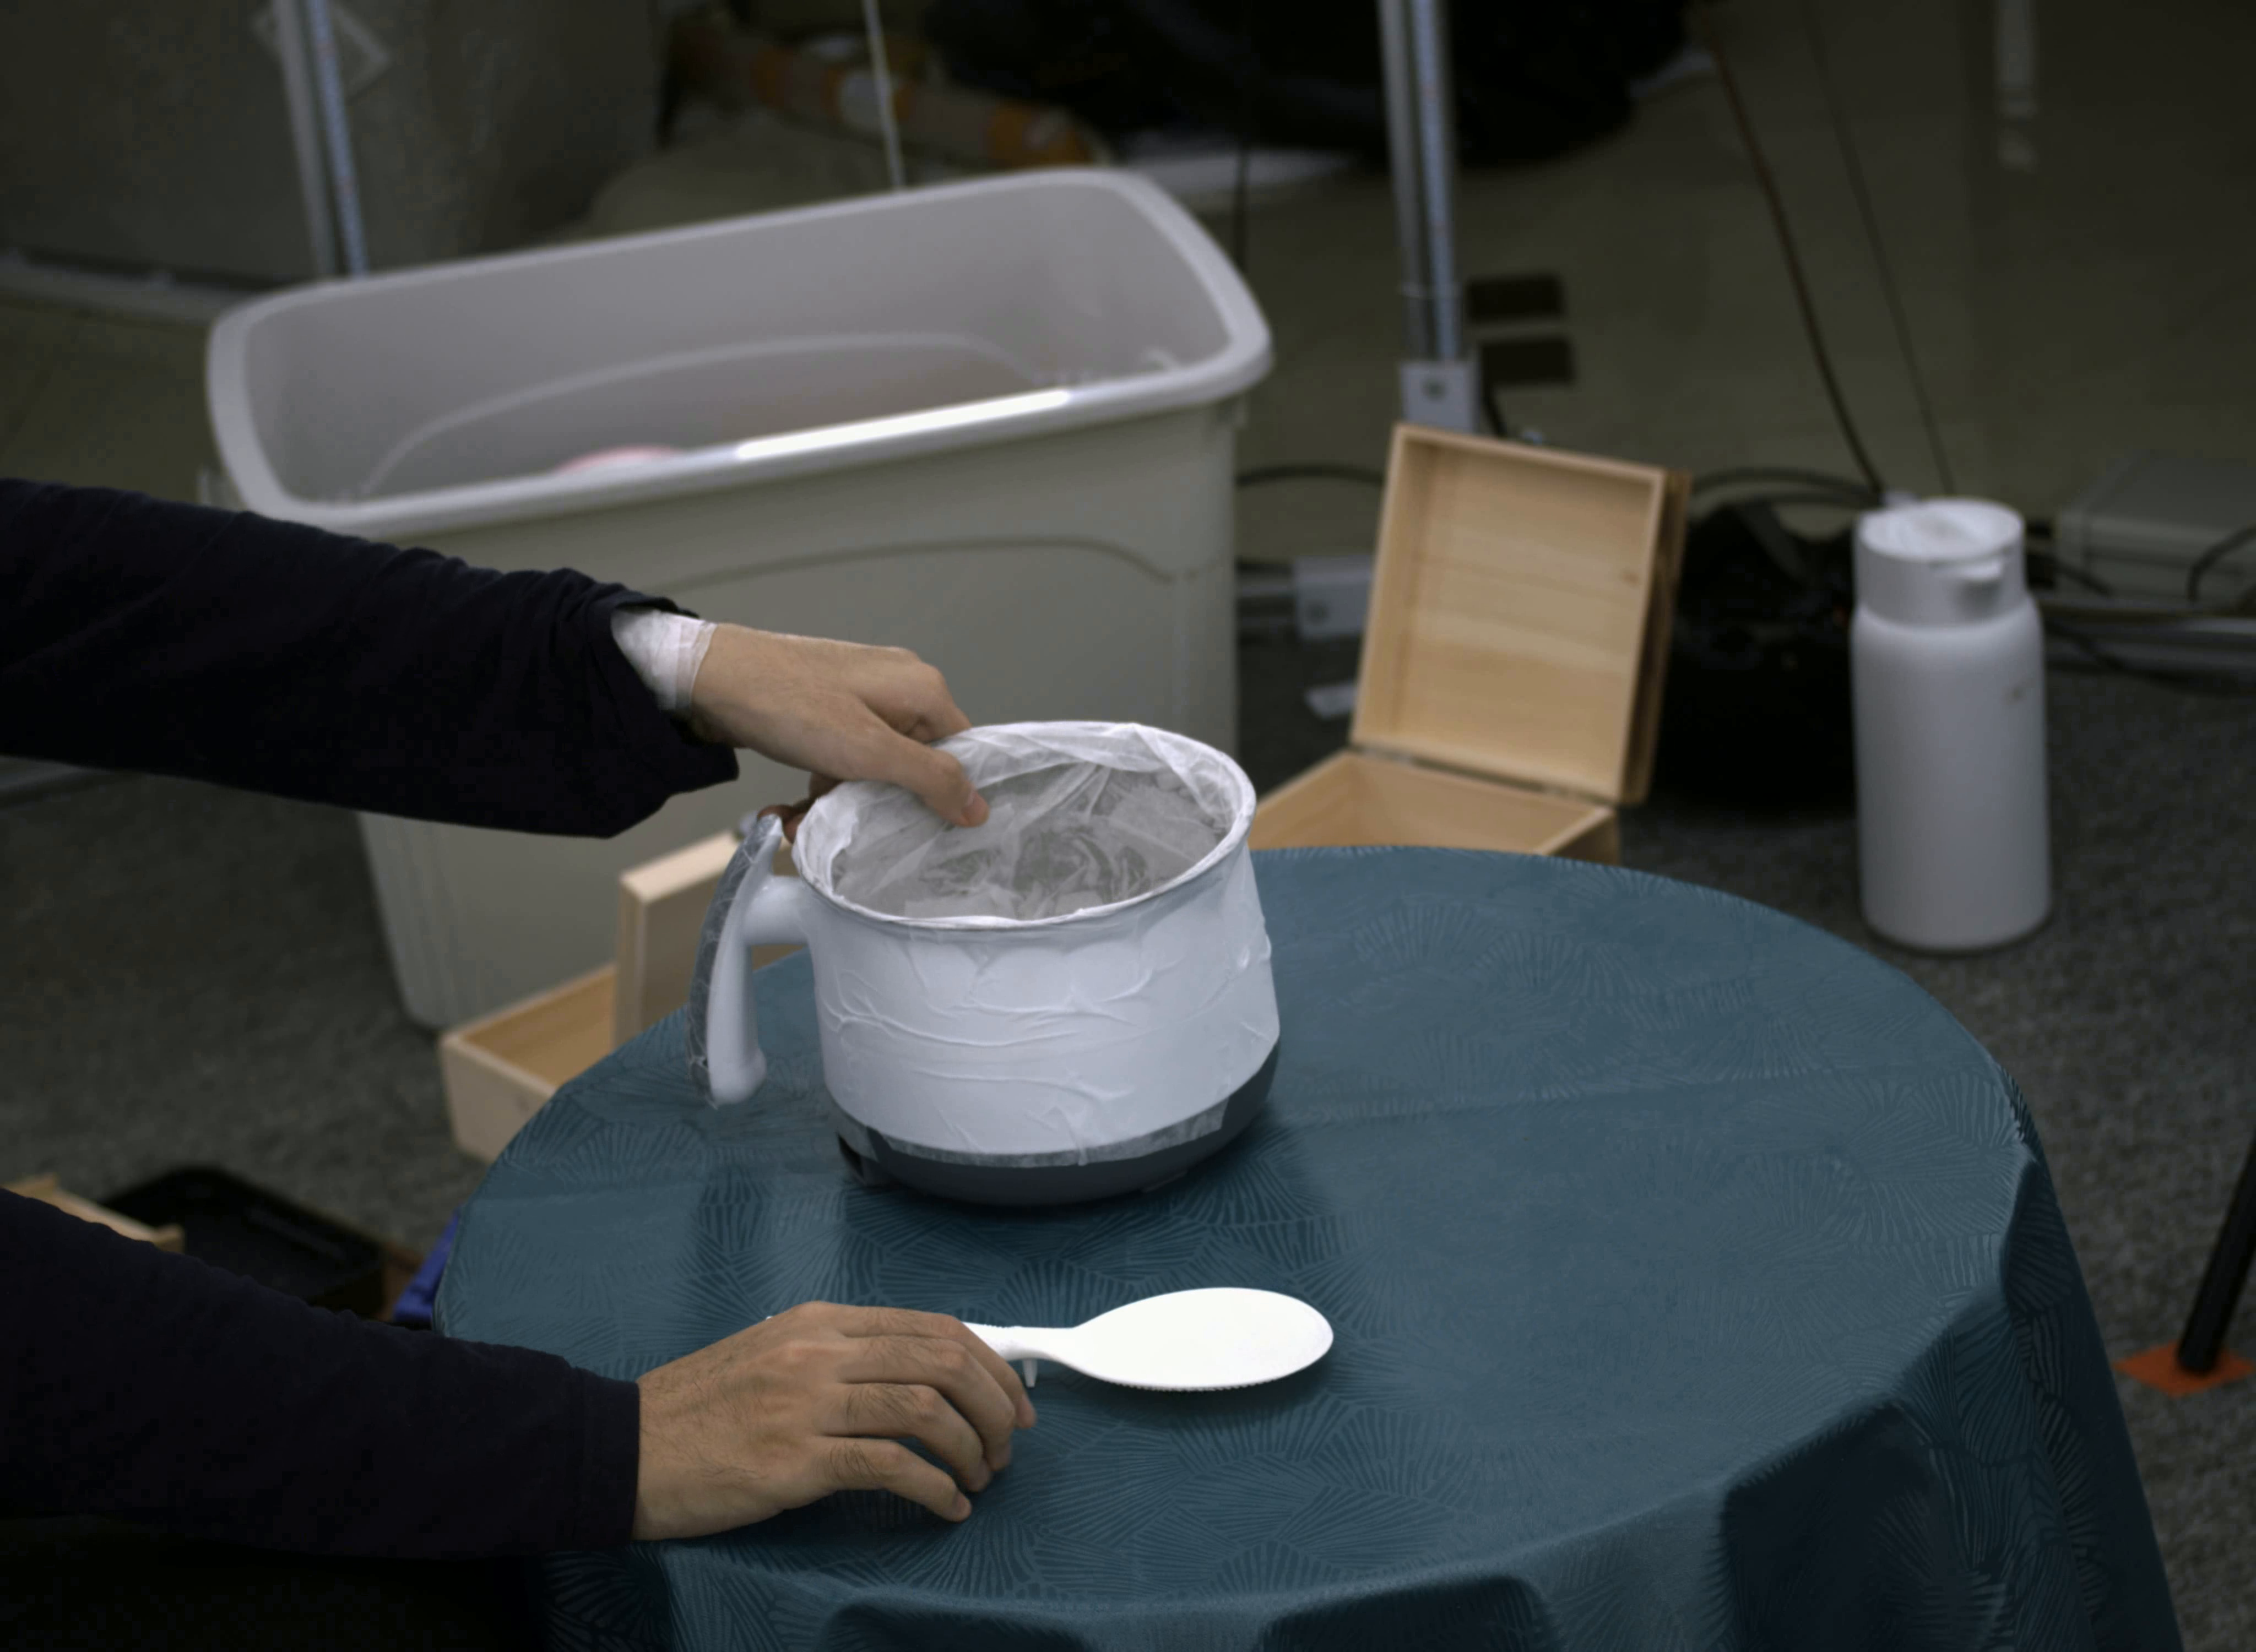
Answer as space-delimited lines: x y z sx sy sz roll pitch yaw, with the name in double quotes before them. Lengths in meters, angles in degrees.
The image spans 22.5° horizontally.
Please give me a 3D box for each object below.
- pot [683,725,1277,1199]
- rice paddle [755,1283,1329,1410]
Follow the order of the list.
"pot" -0.060 0.054 2.178 0.233 0.139 0.176 -1 24 8
"rice paddle" -0.030 0.185 2.025 0.205 0.030 0.068 -4 27 7
